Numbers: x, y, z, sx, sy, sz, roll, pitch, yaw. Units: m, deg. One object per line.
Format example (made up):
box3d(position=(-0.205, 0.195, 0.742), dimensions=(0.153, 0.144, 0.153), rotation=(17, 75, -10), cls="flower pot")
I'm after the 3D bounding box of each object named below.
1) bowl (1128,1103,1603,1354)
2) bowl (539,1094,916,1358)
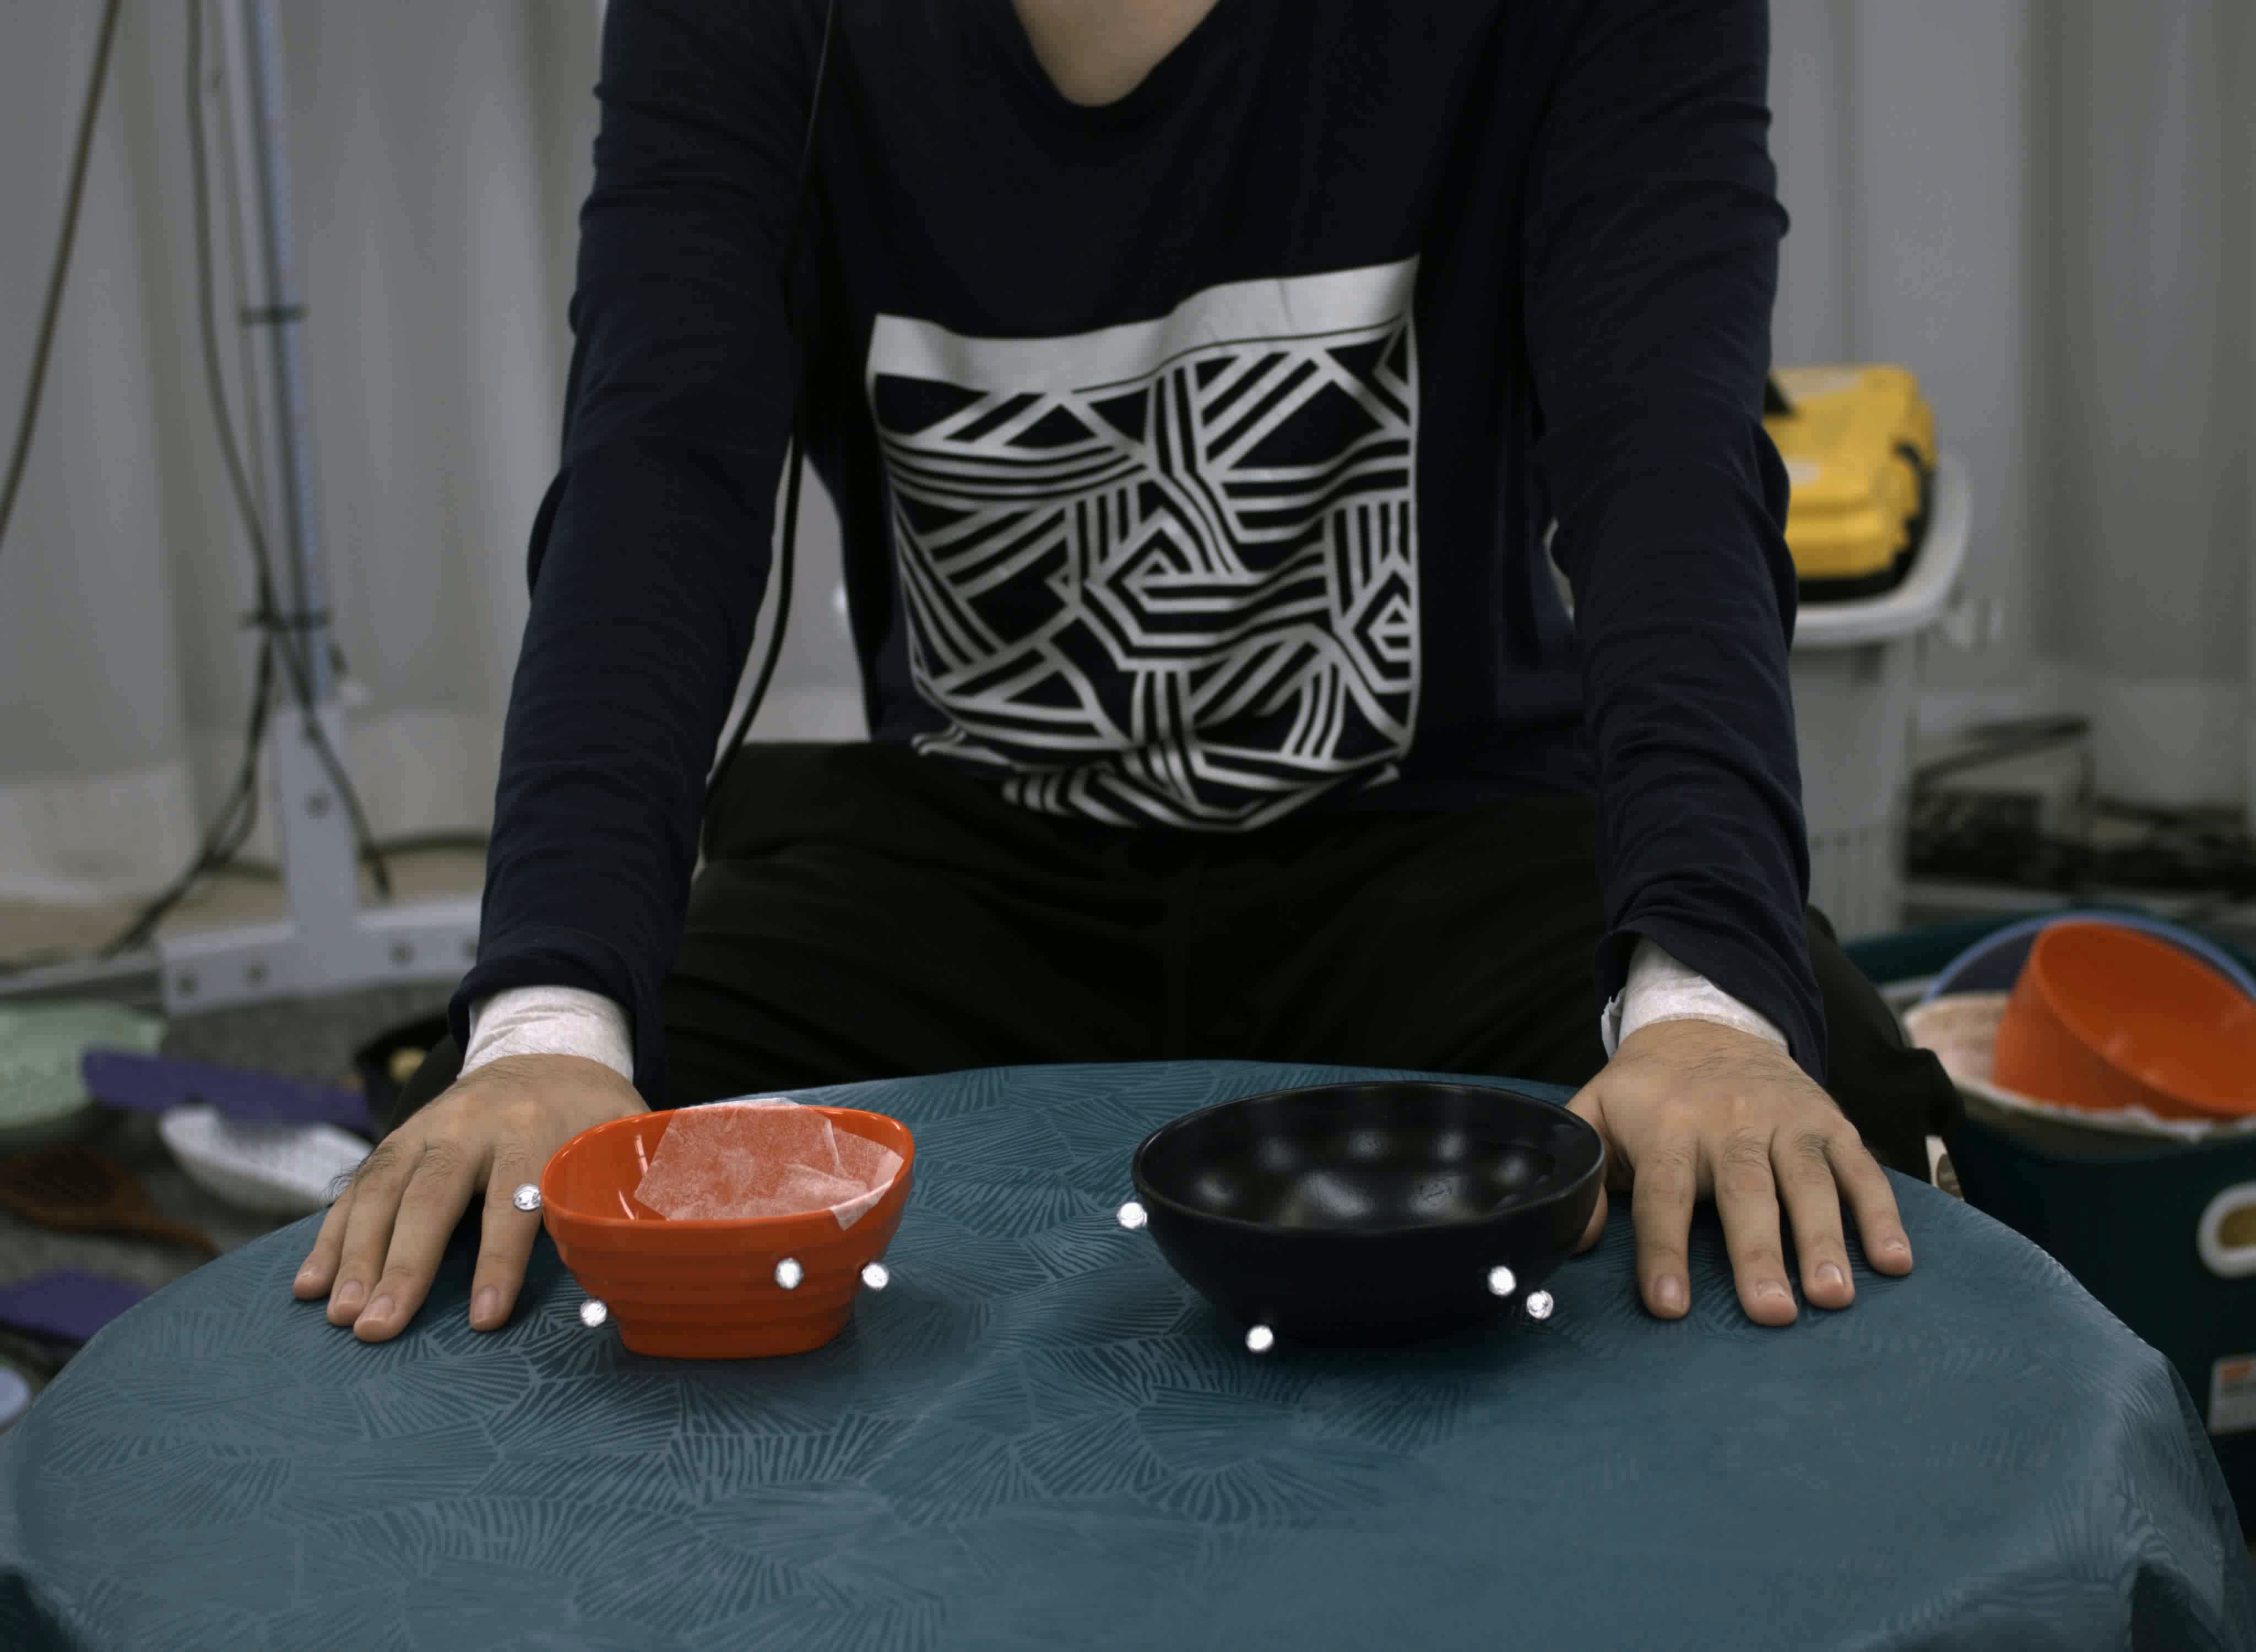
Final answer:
box3d(position=(0.070, 0.121, 1.596), dimensions=(0.139, 0.049, 0.140), rotation=(-2, 10, 0), cls="bowl")
box3d(position=(-0.116, 0.121, 1.613), dimensions=(0.118, 0.051, 0.120), rotation=(-4, 16, 1), cls="bowl")
